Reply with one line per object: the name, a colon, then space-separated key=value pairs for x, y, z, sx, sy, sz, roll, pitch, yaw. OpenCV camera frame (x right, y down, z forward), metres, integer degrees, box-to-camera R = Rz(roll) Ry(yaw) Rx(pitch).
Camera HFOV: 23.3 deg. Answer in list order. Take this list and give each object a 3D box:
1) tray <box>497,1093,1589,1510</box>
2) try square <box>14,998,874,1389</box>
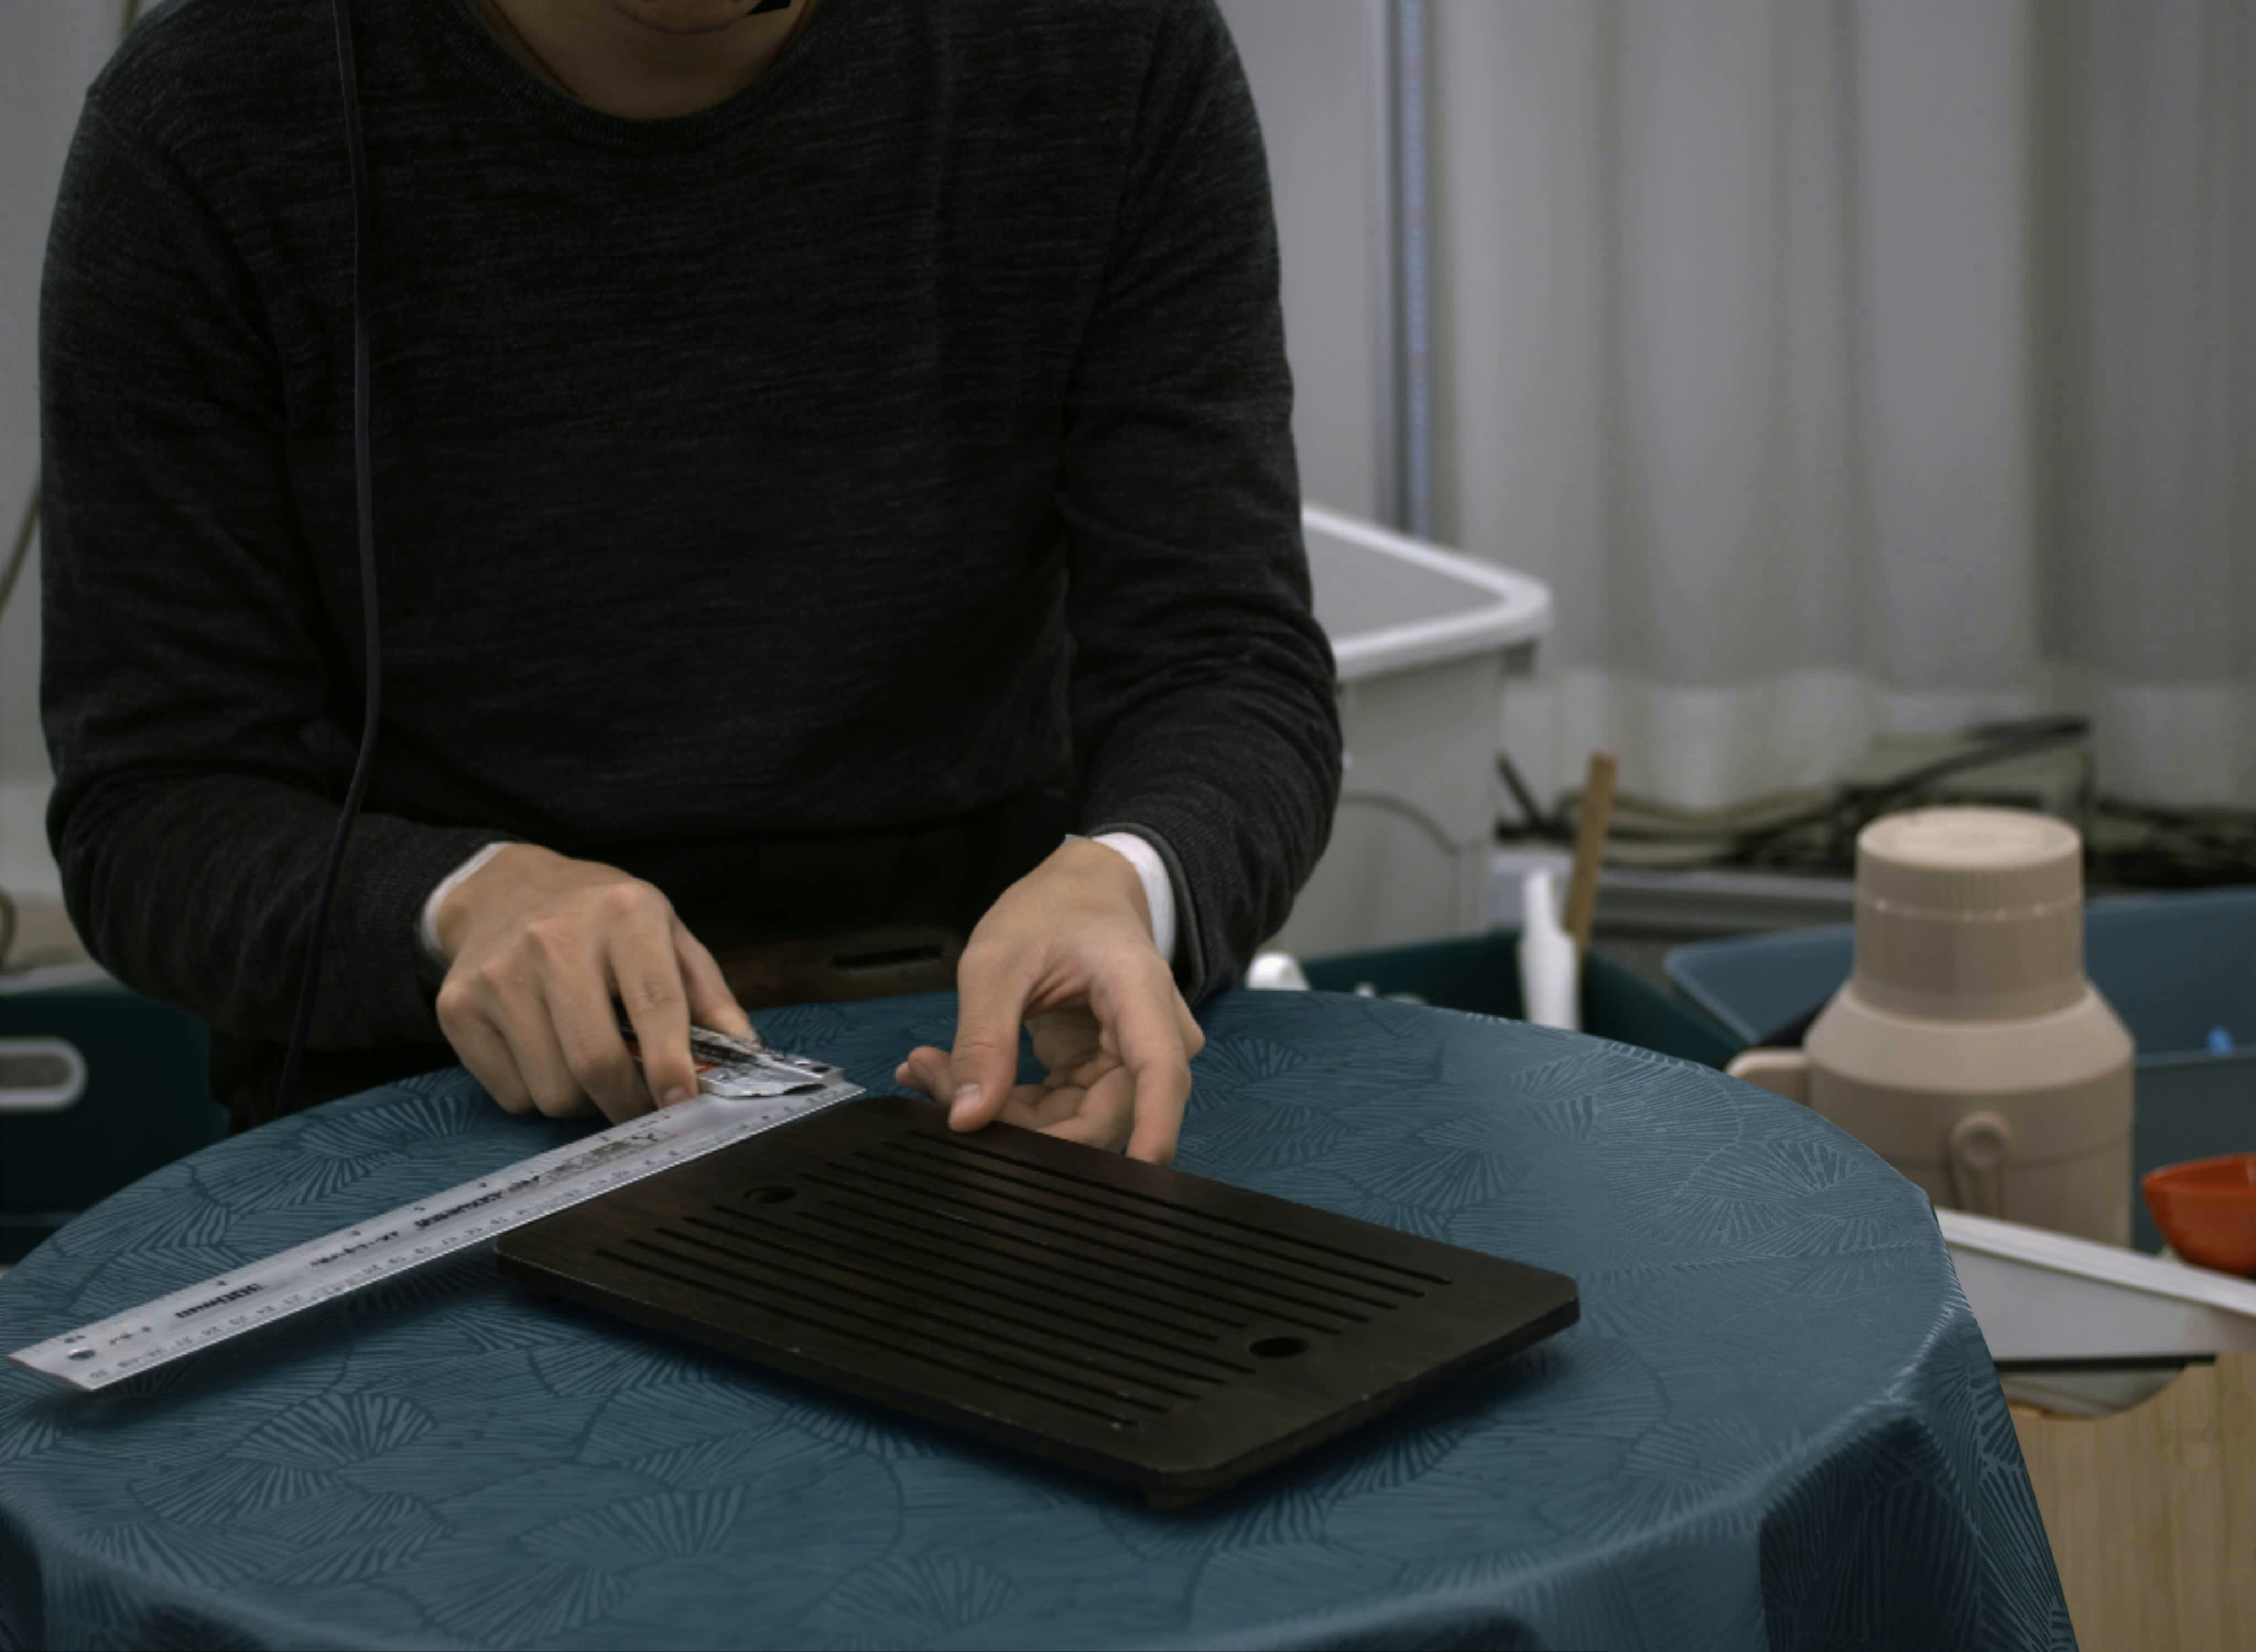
tray: x=-0.029 y=0.135 z=1.600 sx=0.170 sy=0.018 sz=0.307 roll=-19 pitch=22 yaw=-41
try square: x=-0.239 y=0.111 z=1.705 sx=0.153 sy=0.016 sz=0.312 roll=11 pitch=21 yaw=42
